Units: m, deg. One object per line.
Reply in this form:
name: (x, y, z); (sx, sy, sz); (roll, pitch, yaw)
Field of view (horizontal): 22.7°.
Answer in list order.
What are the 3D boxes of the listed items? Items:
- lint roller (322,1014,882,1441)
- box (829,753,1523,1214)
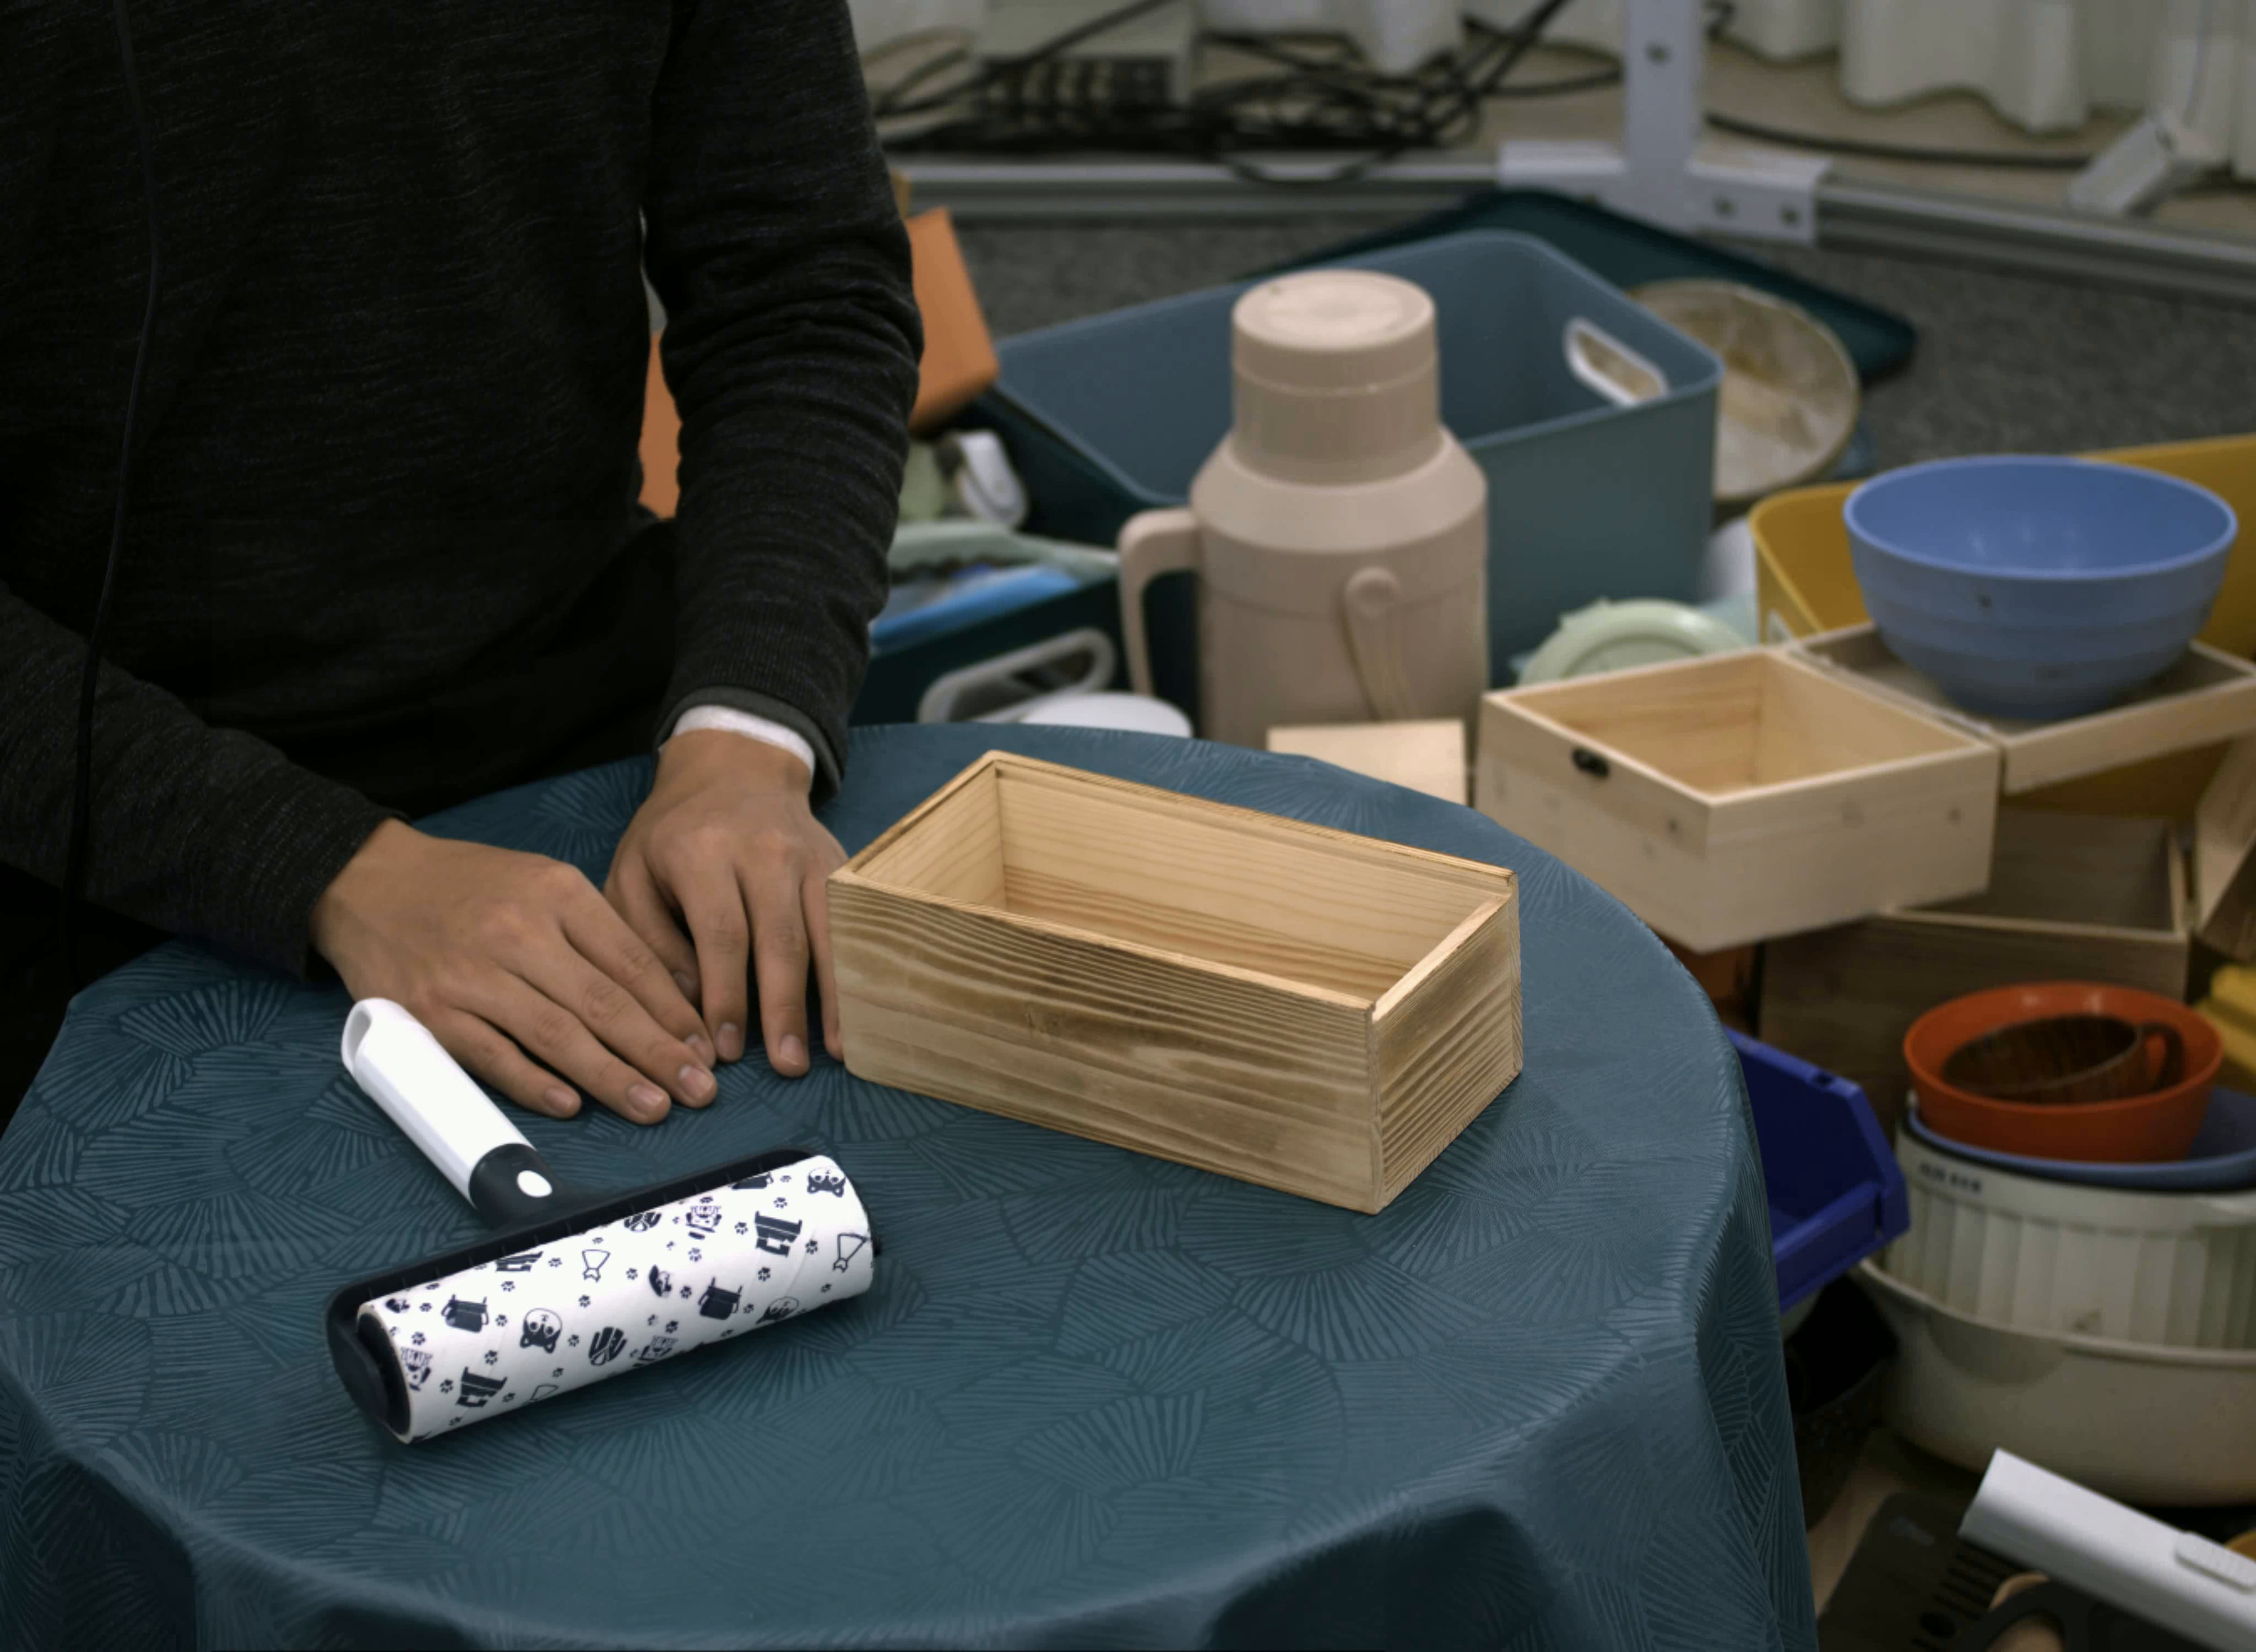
lint roller: (-0.211, 0.112, 1.854); (0.177, 0.050, 0.248); (-17, 30, -24)
box: (0.016, 0.051, 1.911); (0.210, 0.079, 0.109); (12, 30, 28)
